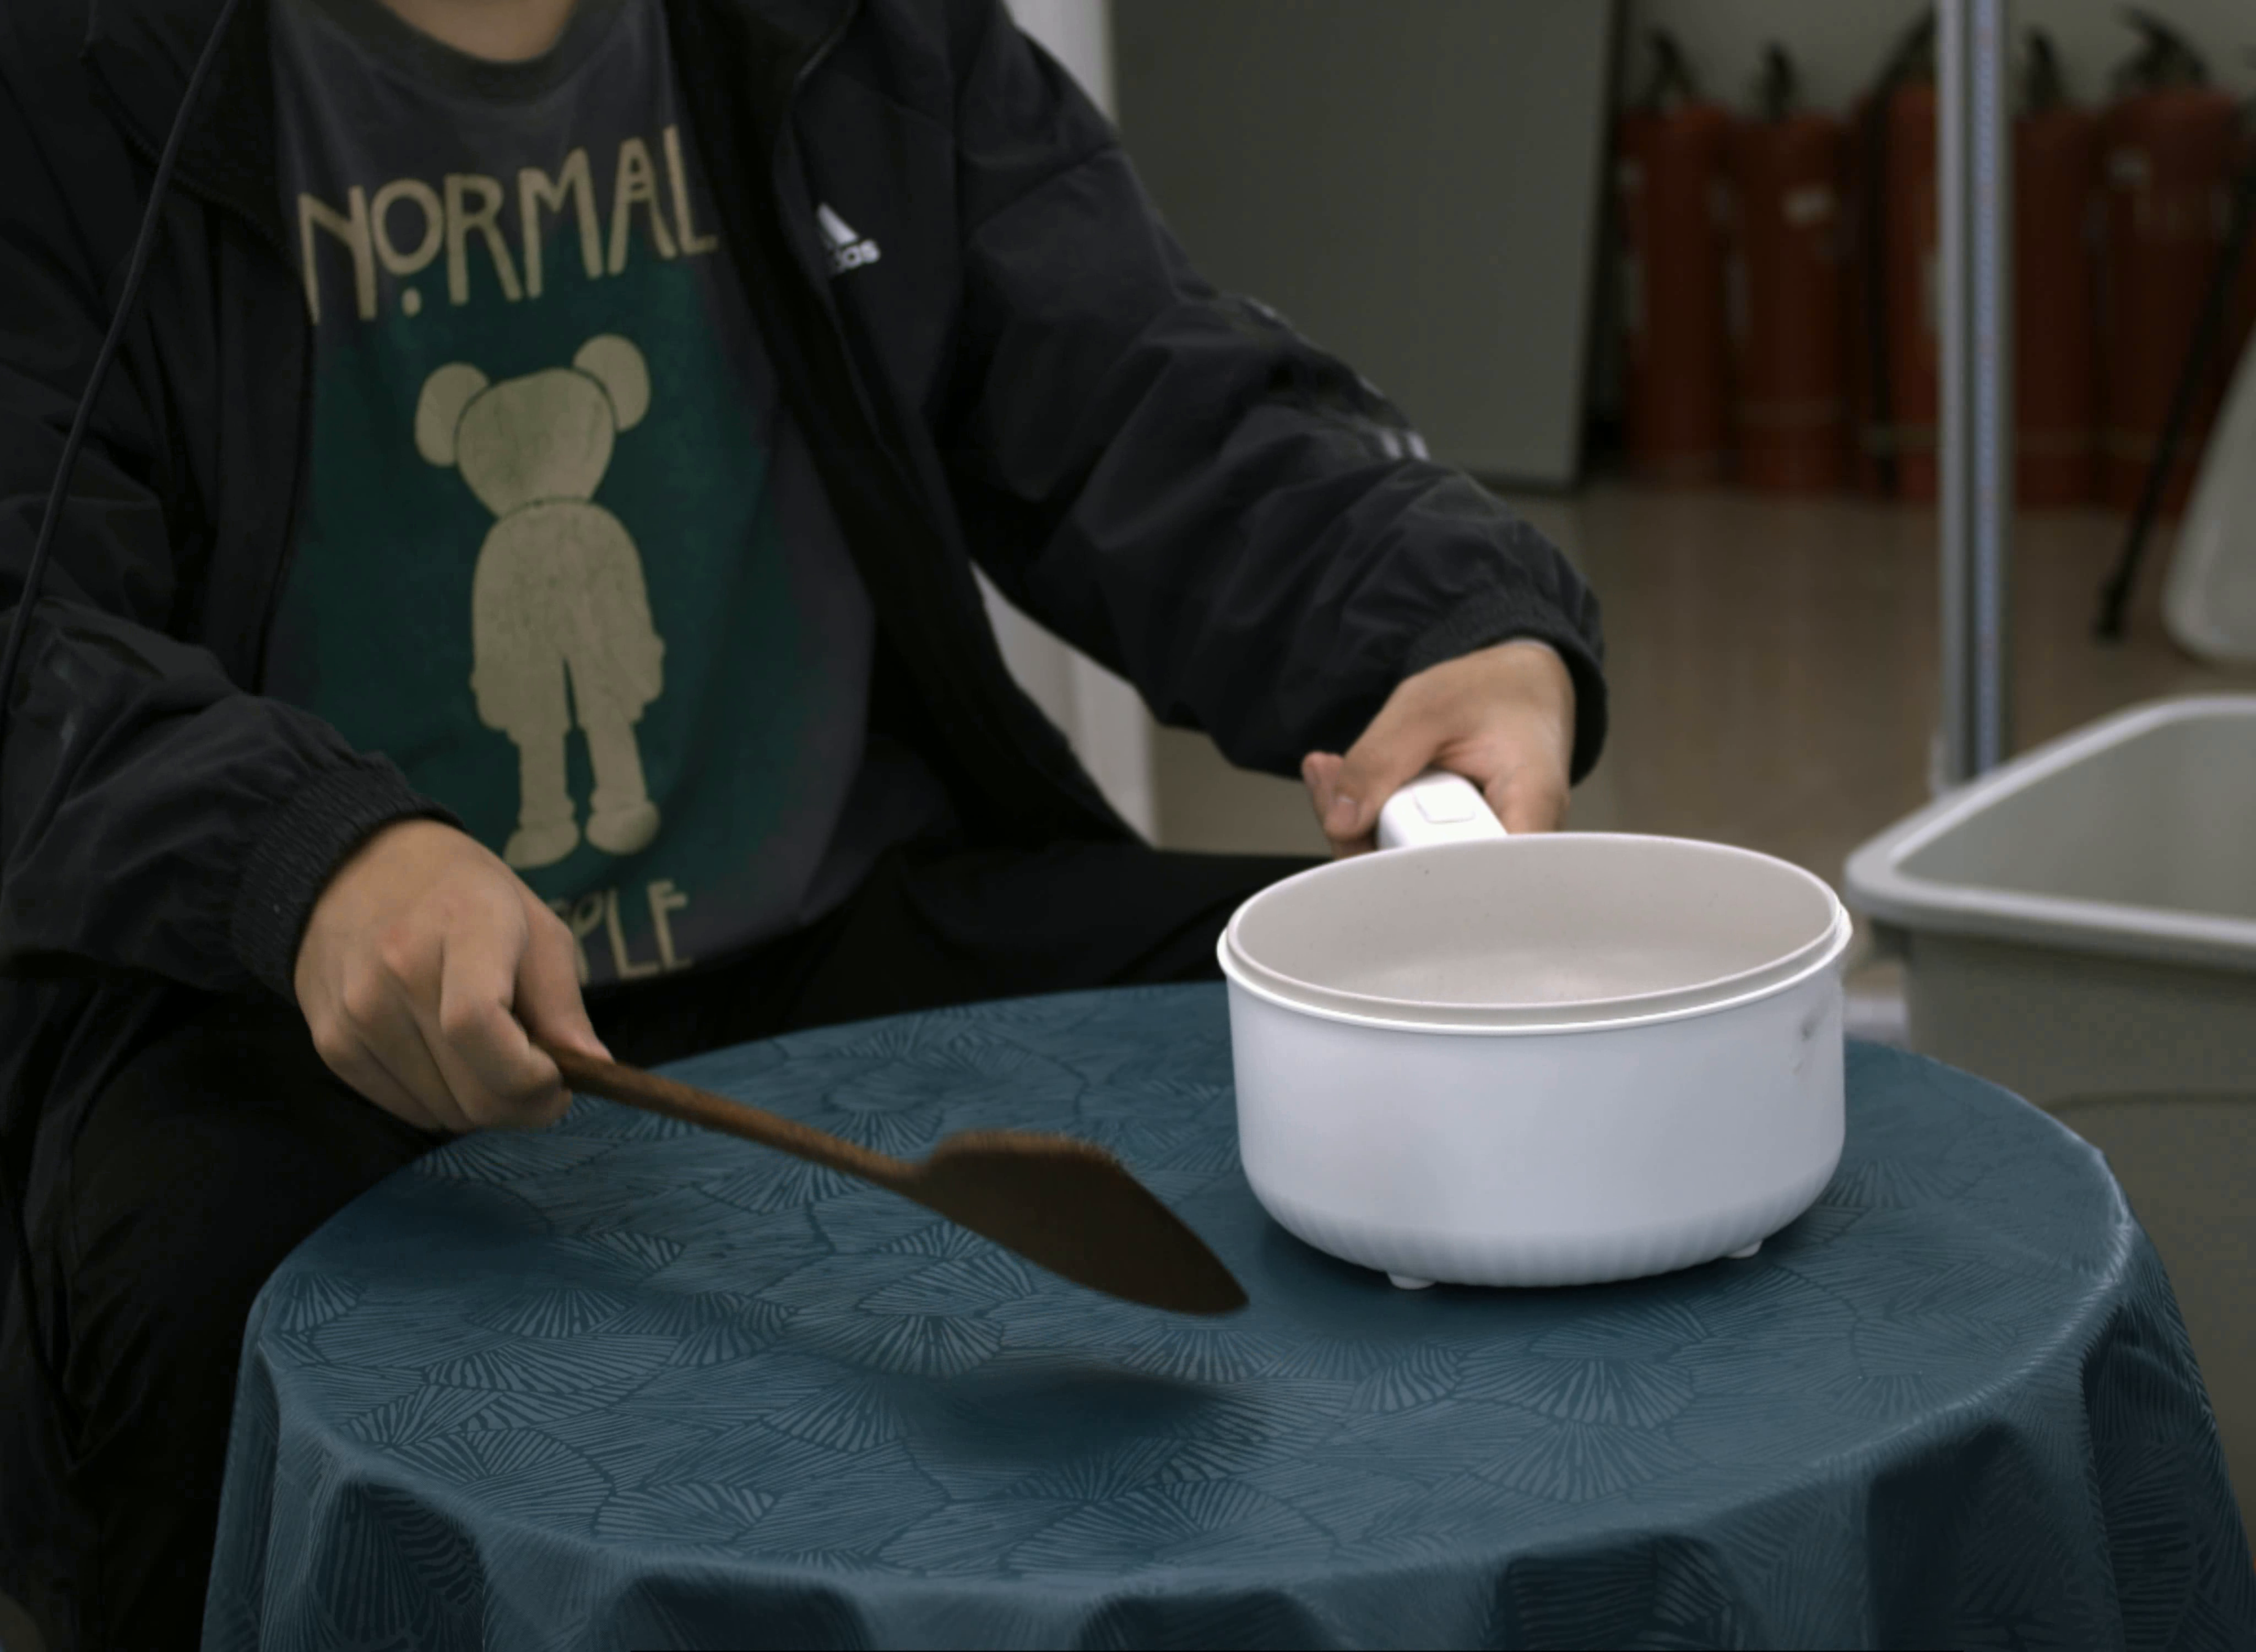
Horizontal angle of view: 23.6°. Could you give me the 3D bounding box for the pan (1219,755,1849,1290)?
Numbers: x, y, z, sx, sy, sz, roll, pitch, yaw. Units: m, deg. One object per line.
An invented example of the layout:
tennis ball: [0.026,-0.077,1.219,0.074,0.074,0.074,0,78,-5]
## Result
pan: [0.122,0.060,1.780,0.198,0.103,0.356,-6,13,-5]

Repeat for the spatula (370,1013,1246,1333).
spatula: [-0.115,0.098,1.679,0.389,0.095,0.016,12,62,45]
